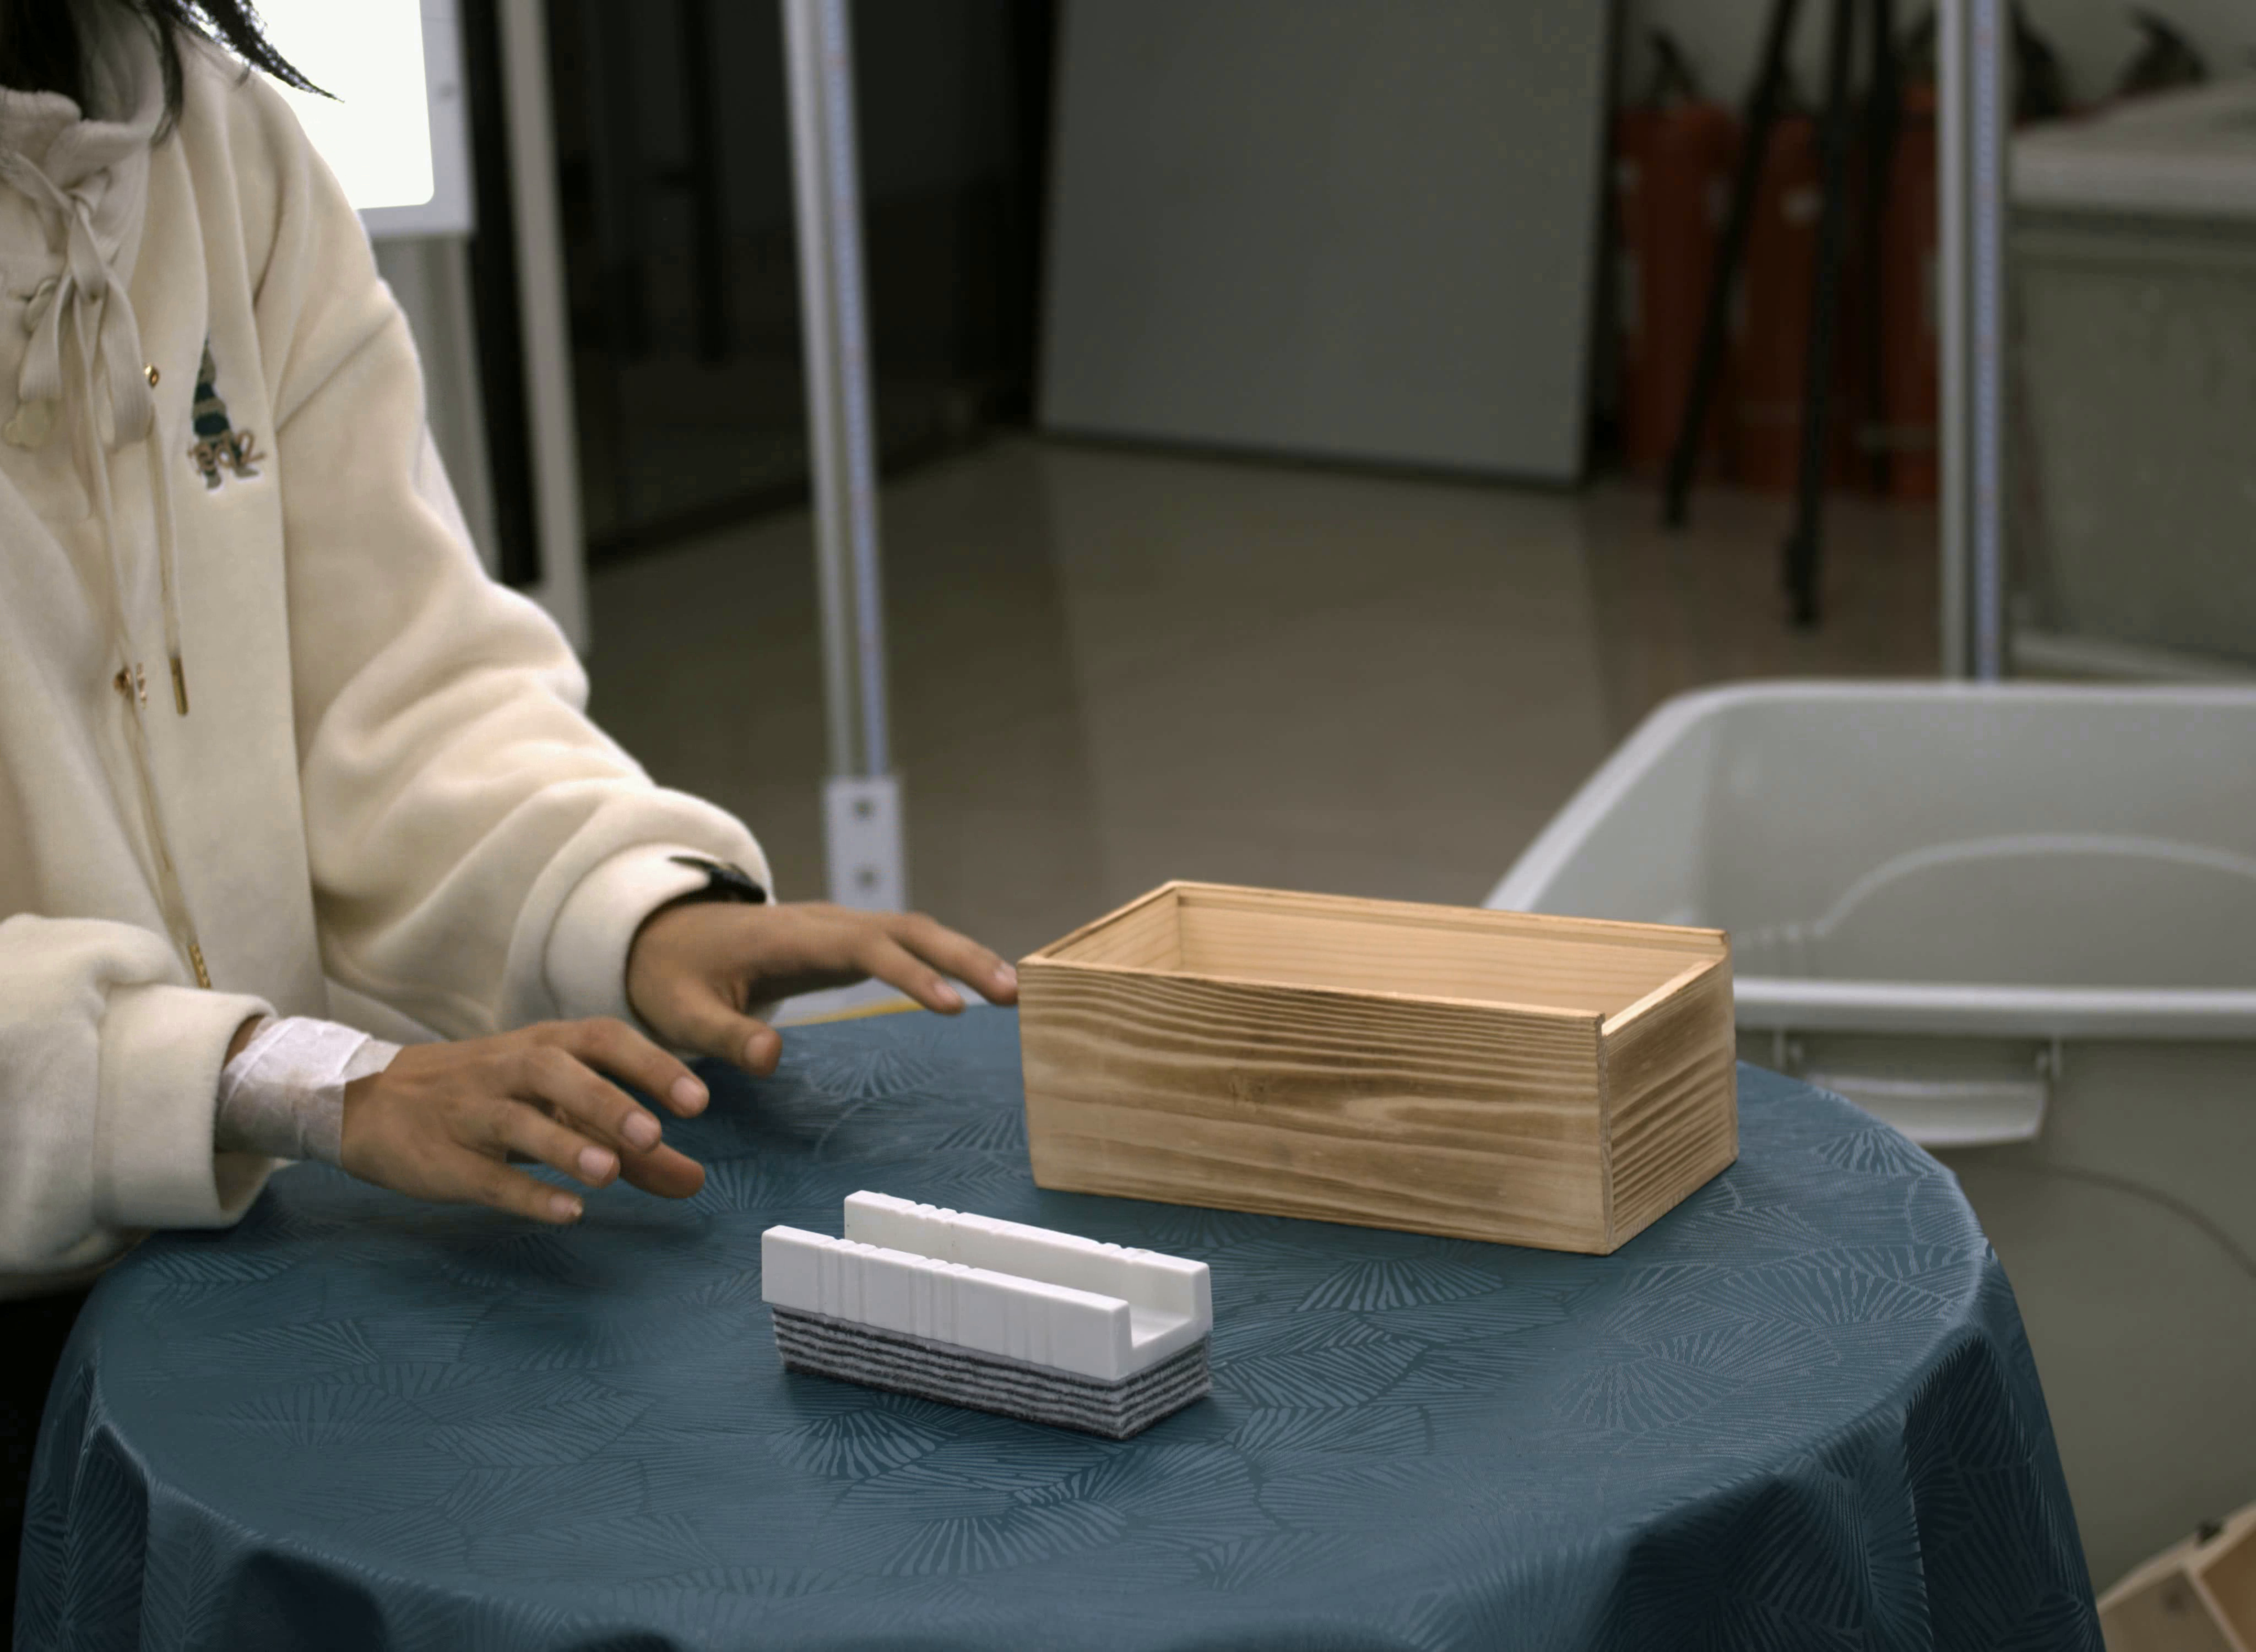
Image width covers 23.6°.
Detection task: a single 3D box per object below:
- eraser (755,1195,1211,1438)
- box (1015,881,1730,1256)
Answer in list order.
[{"bbox_3d":[-0.043,0.144,1.592,0.135,0.047,0.049,8,19,35],"label":"eraser"},{"bbox_3d":[0.080,0.077,1.760,0.212,0.081,0.106,5,16,30],"label":"box"}]
